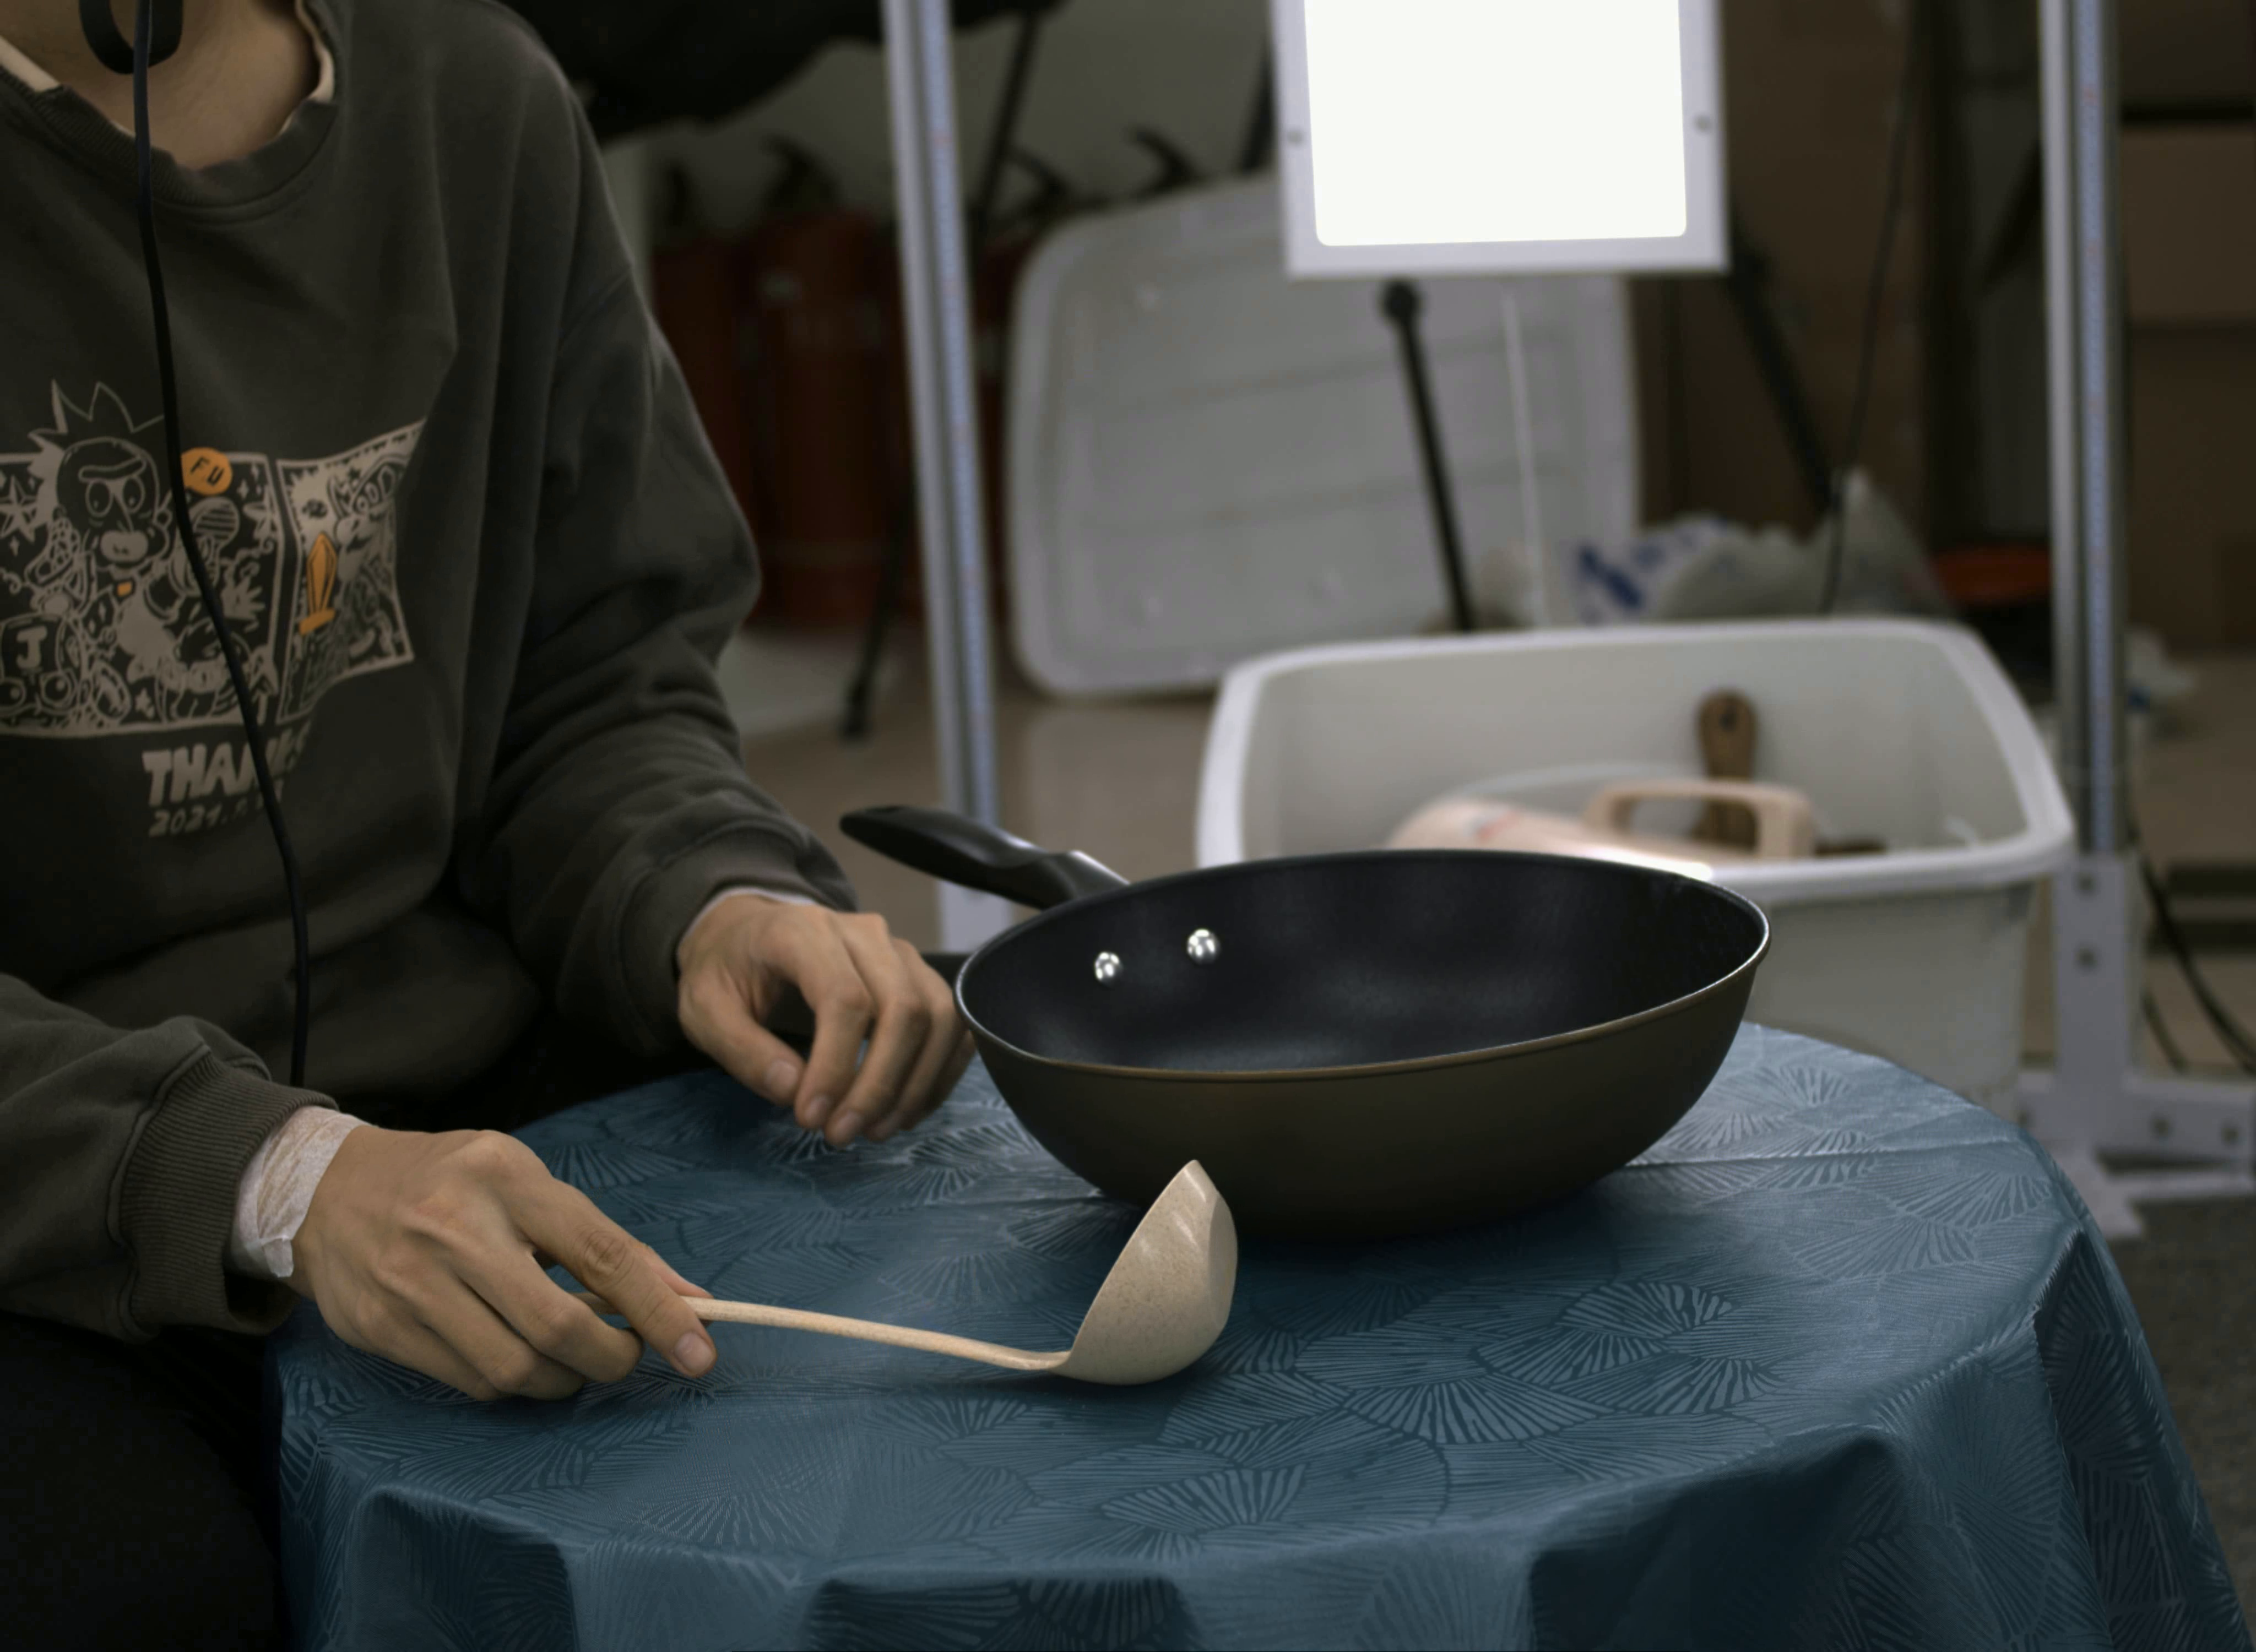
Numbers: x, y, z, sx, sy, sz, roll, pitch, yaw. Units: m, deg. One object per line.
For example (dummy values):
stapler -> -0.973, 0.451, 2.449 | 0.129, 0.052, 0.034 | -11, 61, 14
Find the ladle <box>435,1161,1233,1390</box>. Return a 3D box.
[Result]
ladle -> -0.093, 0.130, 1.724 | 0.256, 0.073, 0.071 | 5, 6, 13

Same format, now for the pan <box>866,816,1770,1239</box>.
pan -> 0.030, 0.066, 1.956 | 0.281, 0.087, 0.472 | -14, 15, -31
